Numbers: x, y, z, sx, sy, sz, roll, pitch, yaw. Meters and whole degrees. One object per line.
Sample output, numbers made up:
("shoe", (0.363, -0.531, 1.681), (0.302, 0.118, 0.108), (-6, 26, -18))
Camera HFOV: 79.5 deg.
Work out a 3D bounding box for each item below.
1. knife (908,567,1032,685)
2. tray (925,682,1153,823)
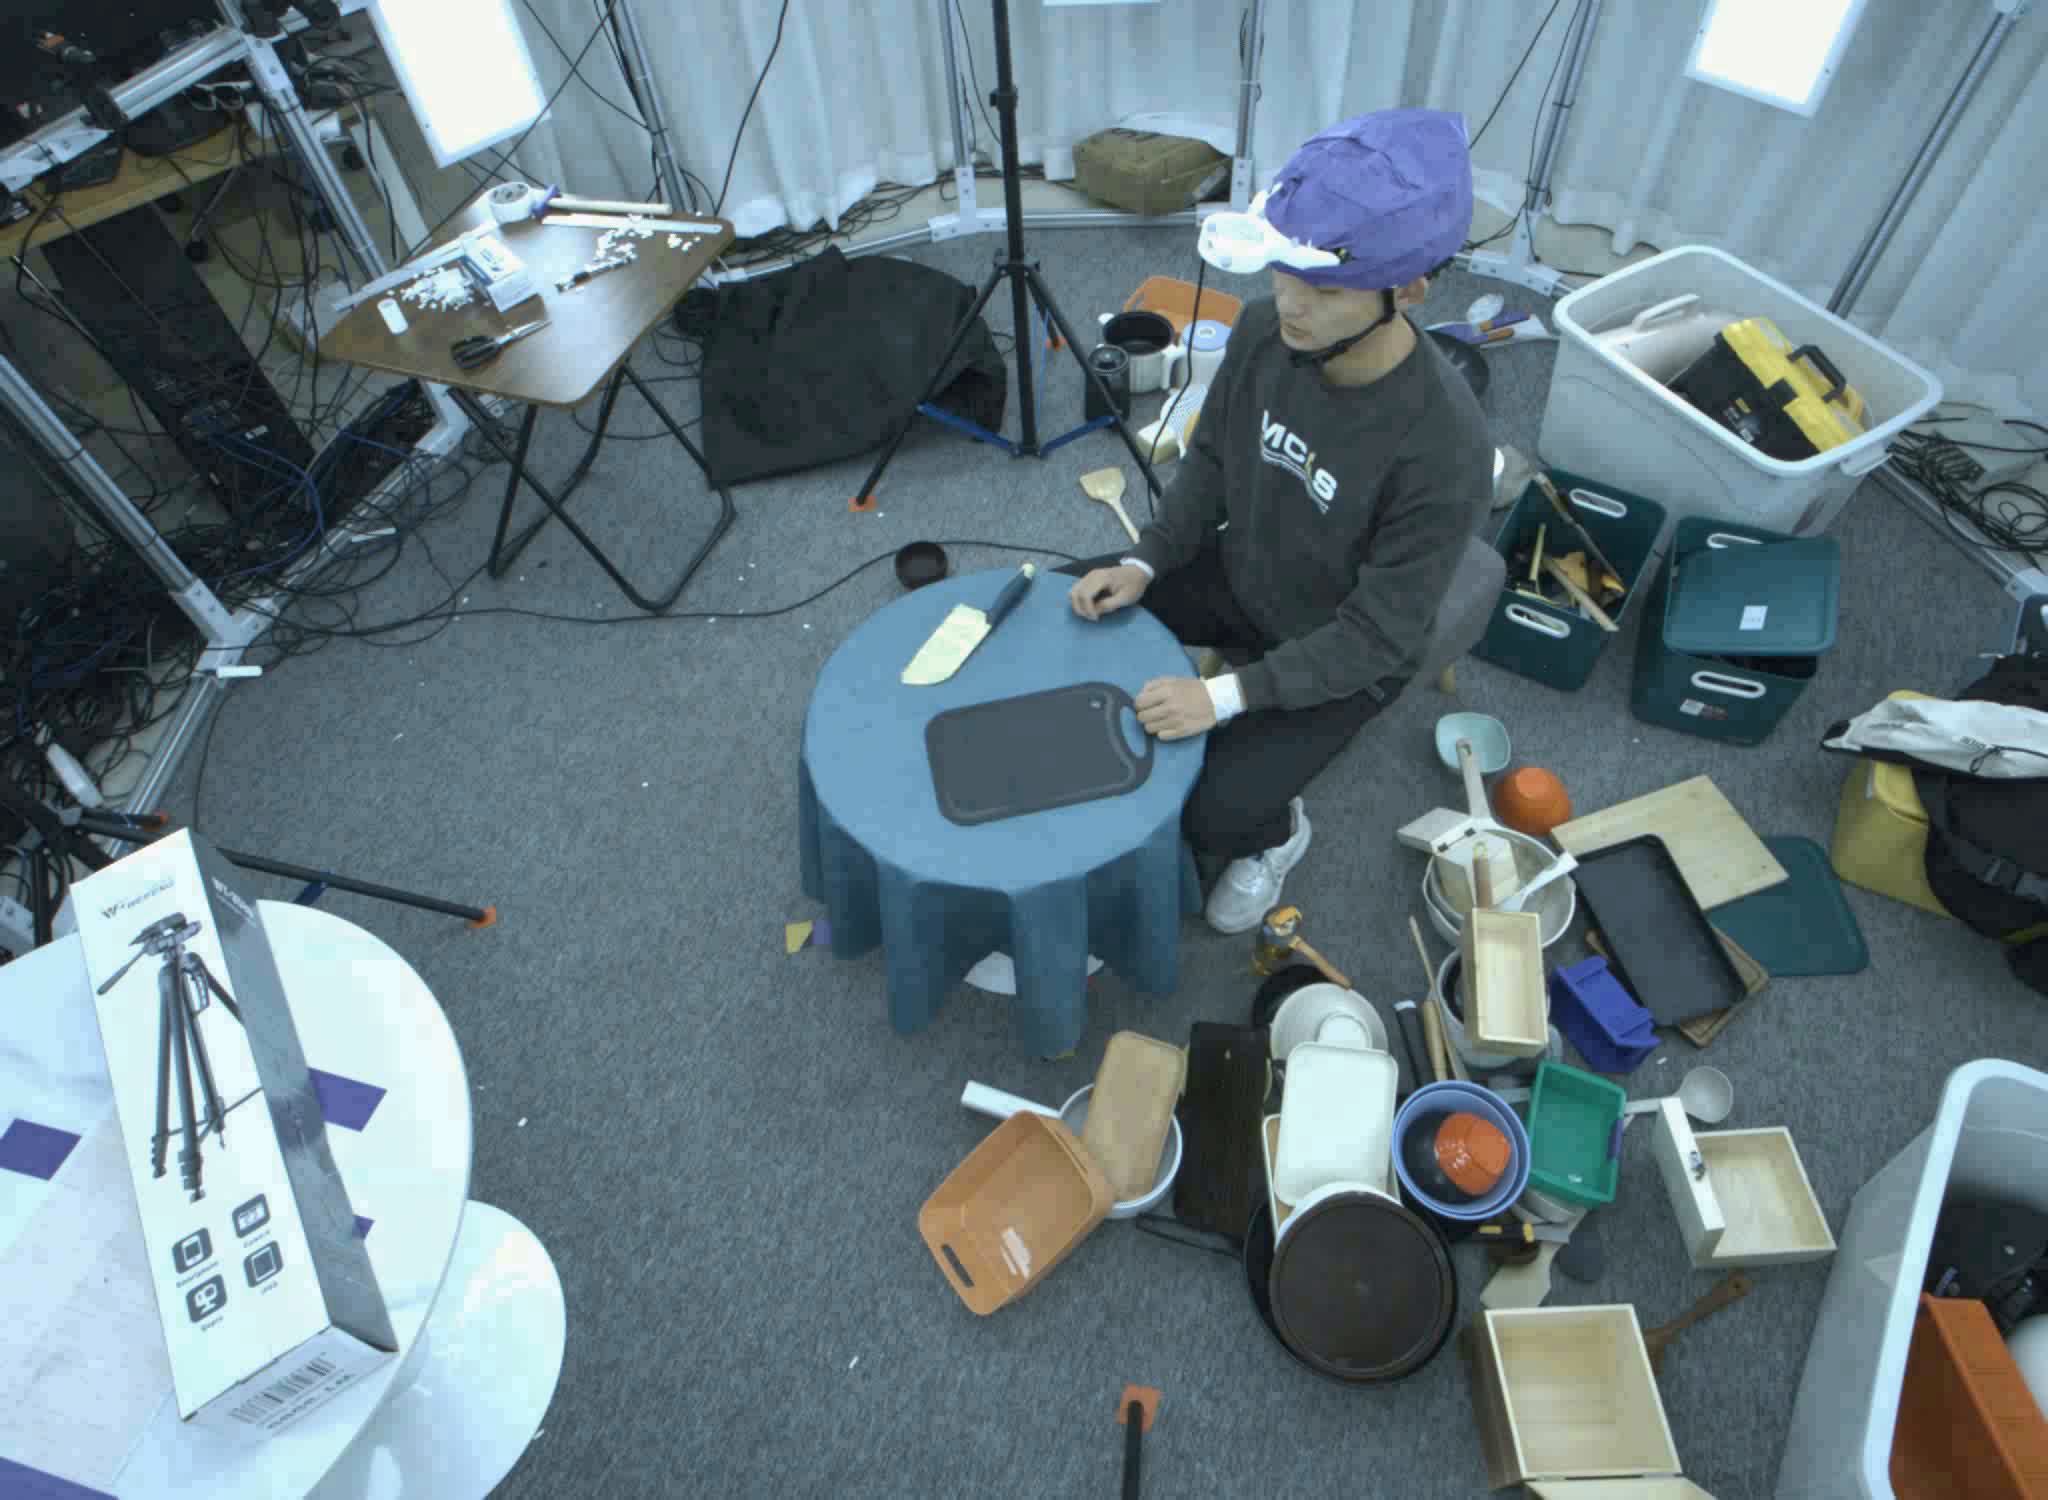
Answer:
("knife", (-0.085, -0.199, 1.930), (0.080, 0.027, 0.291), (31, 61, 20))
("tray", (0.024, -0.004, 1.793), (0.327, 0.010, 0.208), (-11, 55, -6))
